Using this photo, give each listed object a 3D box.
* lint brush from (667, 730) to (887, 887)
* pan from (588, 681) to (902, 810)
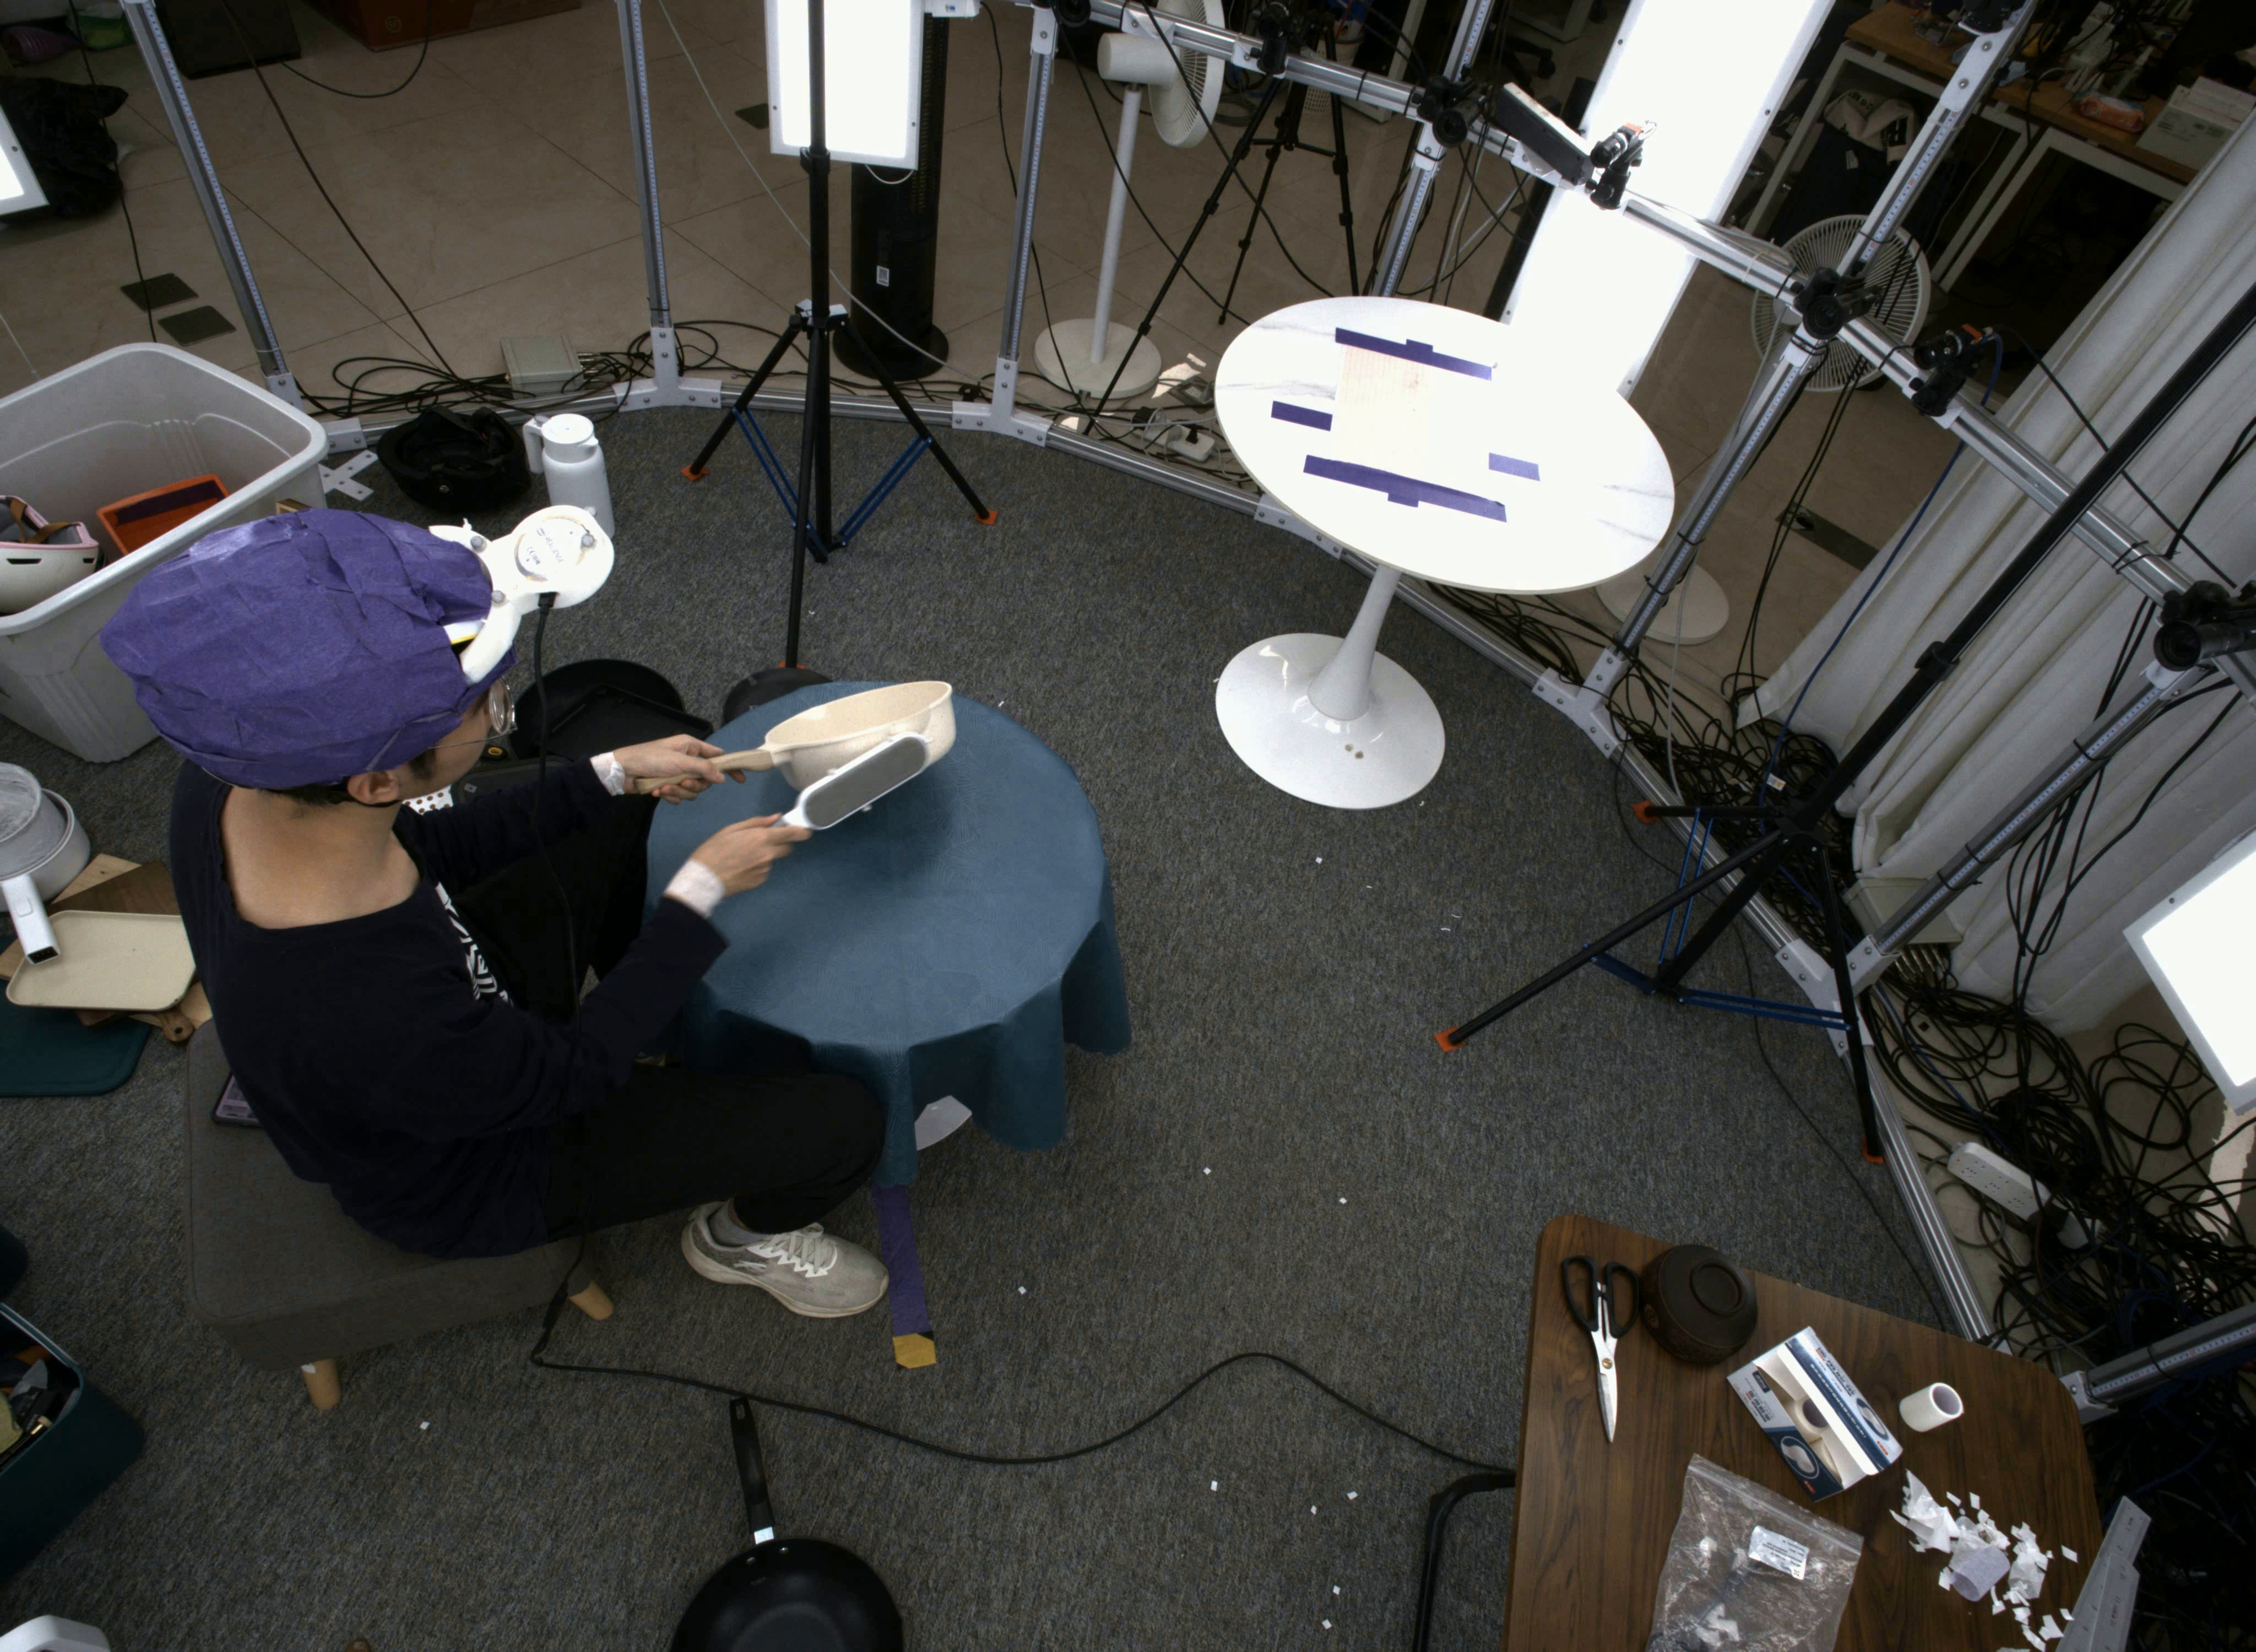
[{"bbox_3d":[-0.421,-0.023,1.559,0.309,0.062,0.020,-36,38,-21],"label":"lint brush"},{"bbox_3d":[-0.479,-0.079,1.642,0.254,0.105,0.437,12,32,43],"label":"pan"}]
